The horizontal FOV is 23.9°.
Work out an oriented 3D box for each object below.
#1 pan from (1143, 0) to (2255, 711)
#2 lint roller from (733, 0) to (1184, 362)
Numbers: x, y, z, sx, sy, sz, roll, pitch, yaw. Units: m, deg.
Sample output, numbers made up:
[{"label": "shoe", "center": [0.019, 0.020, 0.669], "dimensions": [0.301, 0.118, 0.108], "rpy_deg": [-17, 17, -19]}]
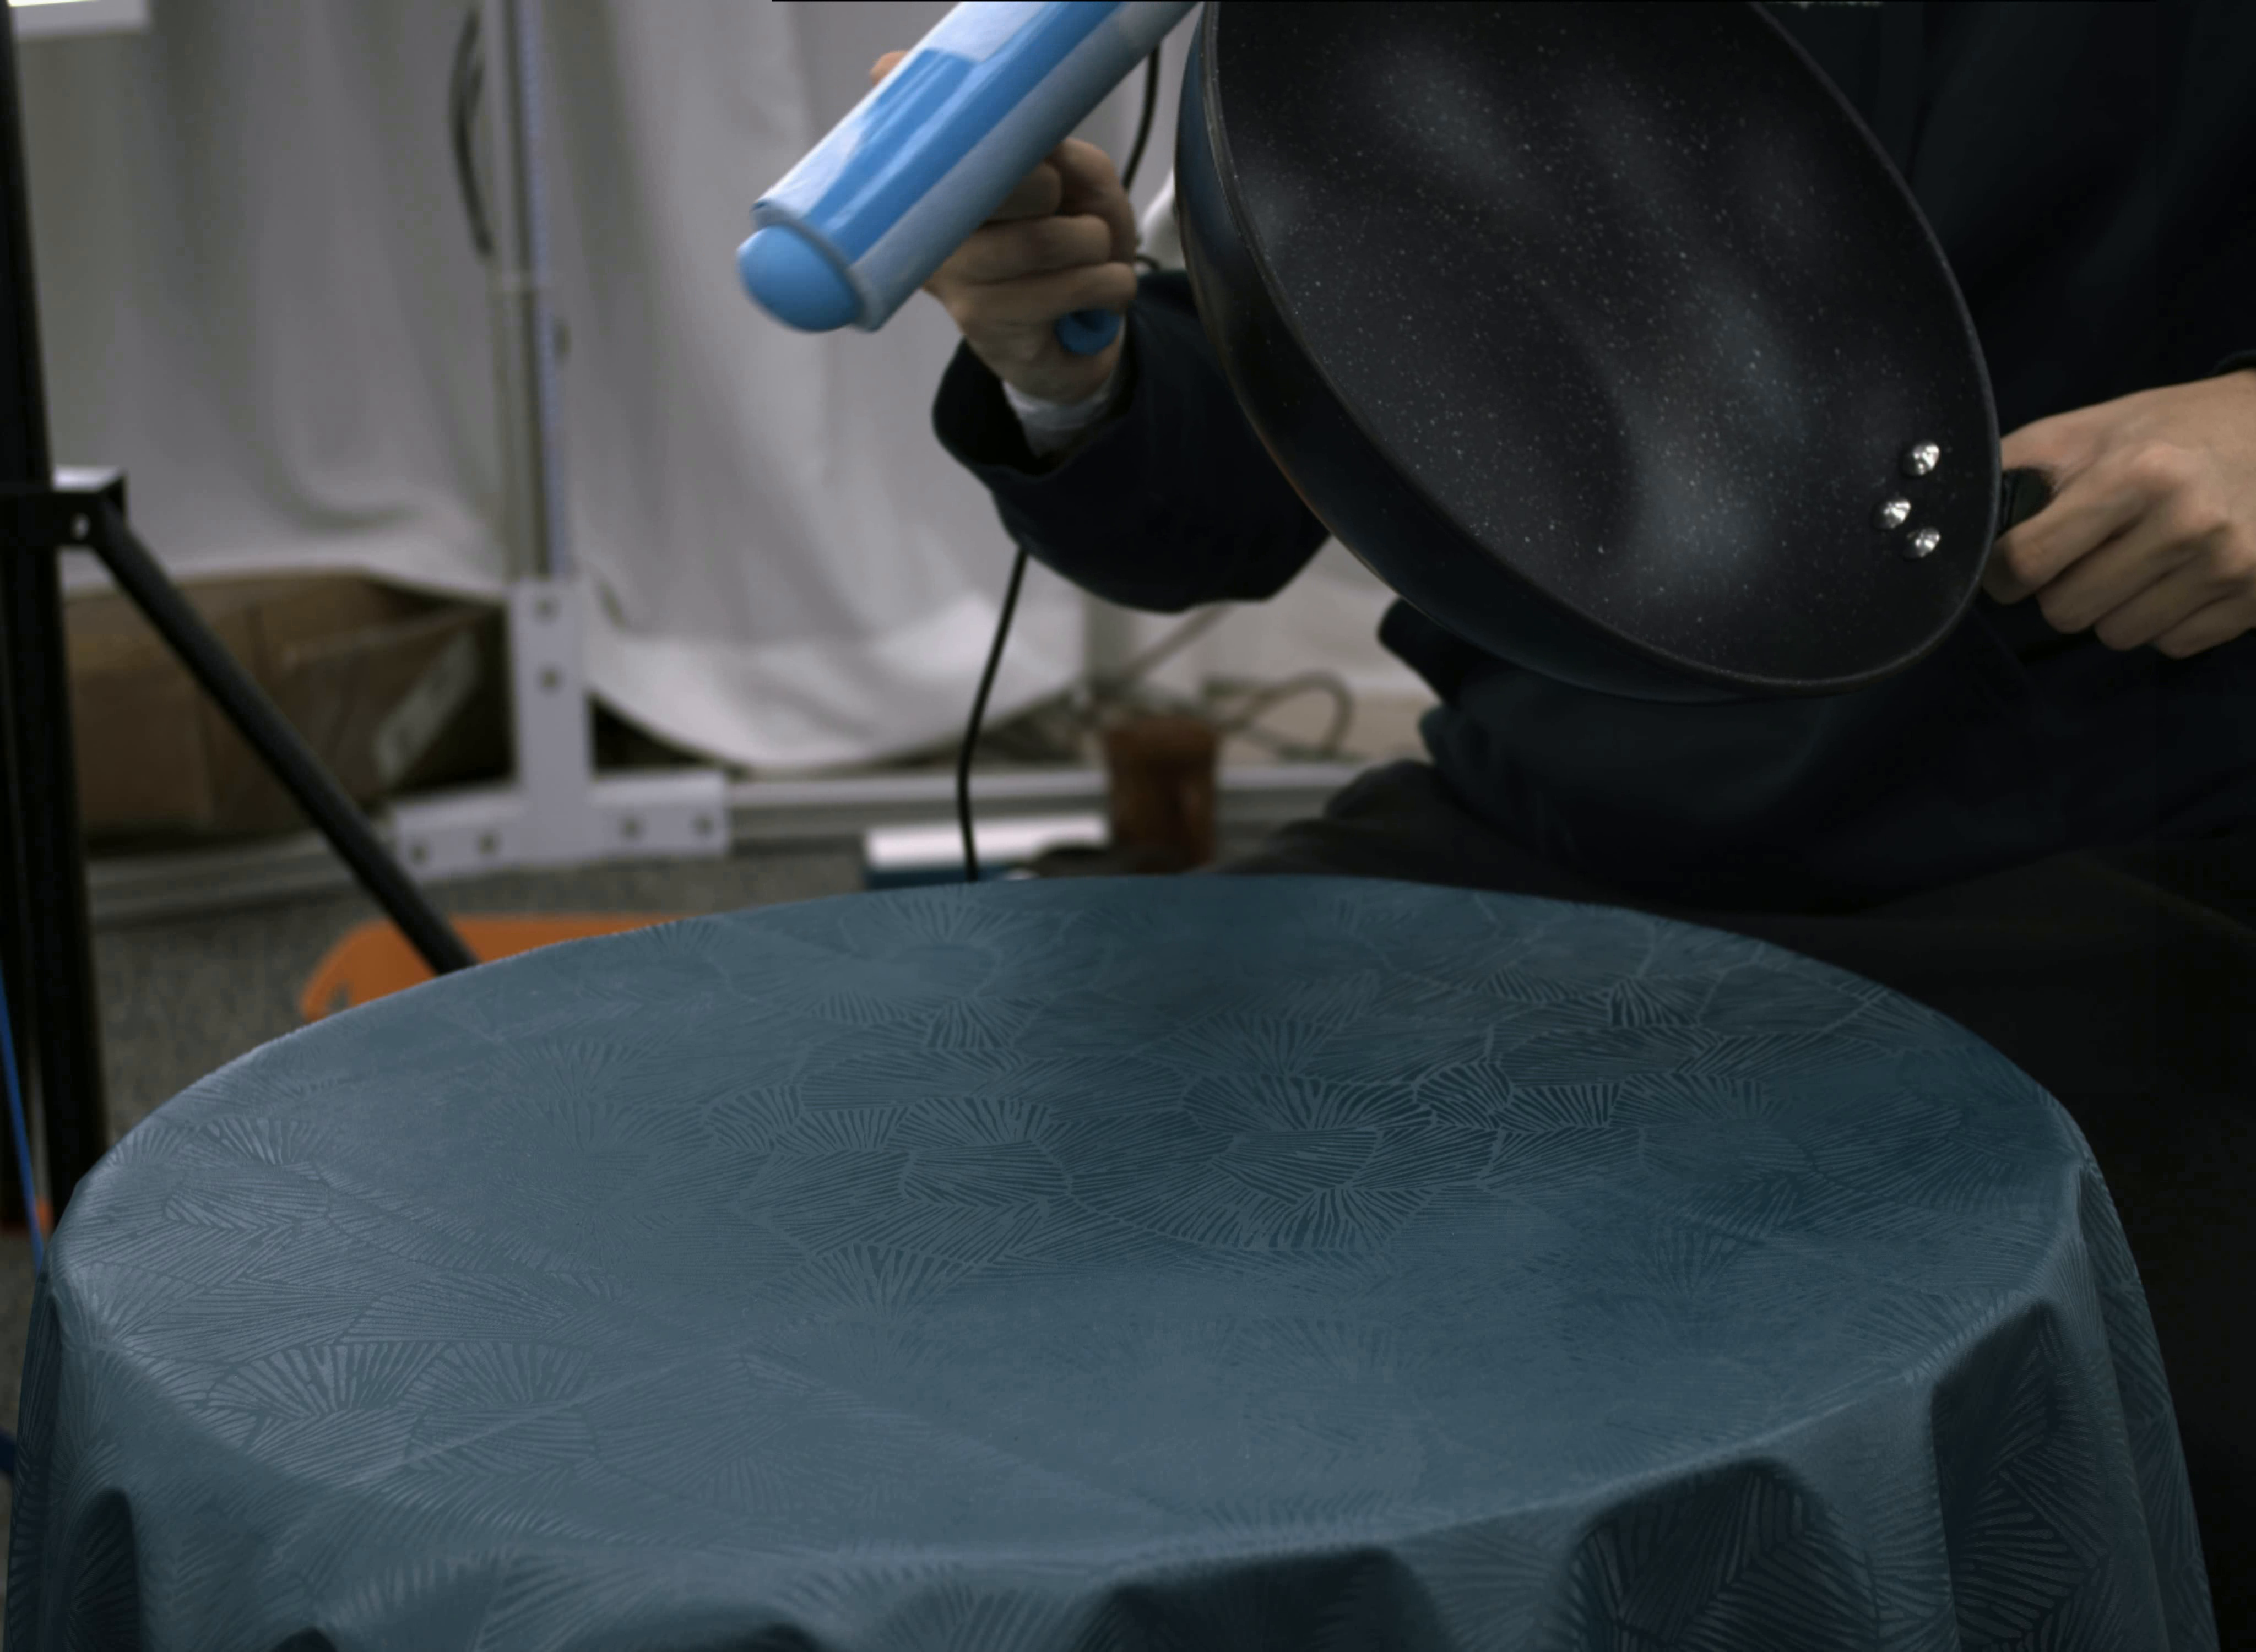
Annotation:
[{"label": "pan", "center": [0.192, -0.127, 1.652], "dimensions": [0.468, 0.113, 0.312], "rpy_deg": [27, 48, -21]}, {"label": "lint roller", "center": [-0.036, -0.214, 1.724], "dimensions": [0.069, 0.179, 0.227], "rpy_deg": [37, 69, 18]}]
